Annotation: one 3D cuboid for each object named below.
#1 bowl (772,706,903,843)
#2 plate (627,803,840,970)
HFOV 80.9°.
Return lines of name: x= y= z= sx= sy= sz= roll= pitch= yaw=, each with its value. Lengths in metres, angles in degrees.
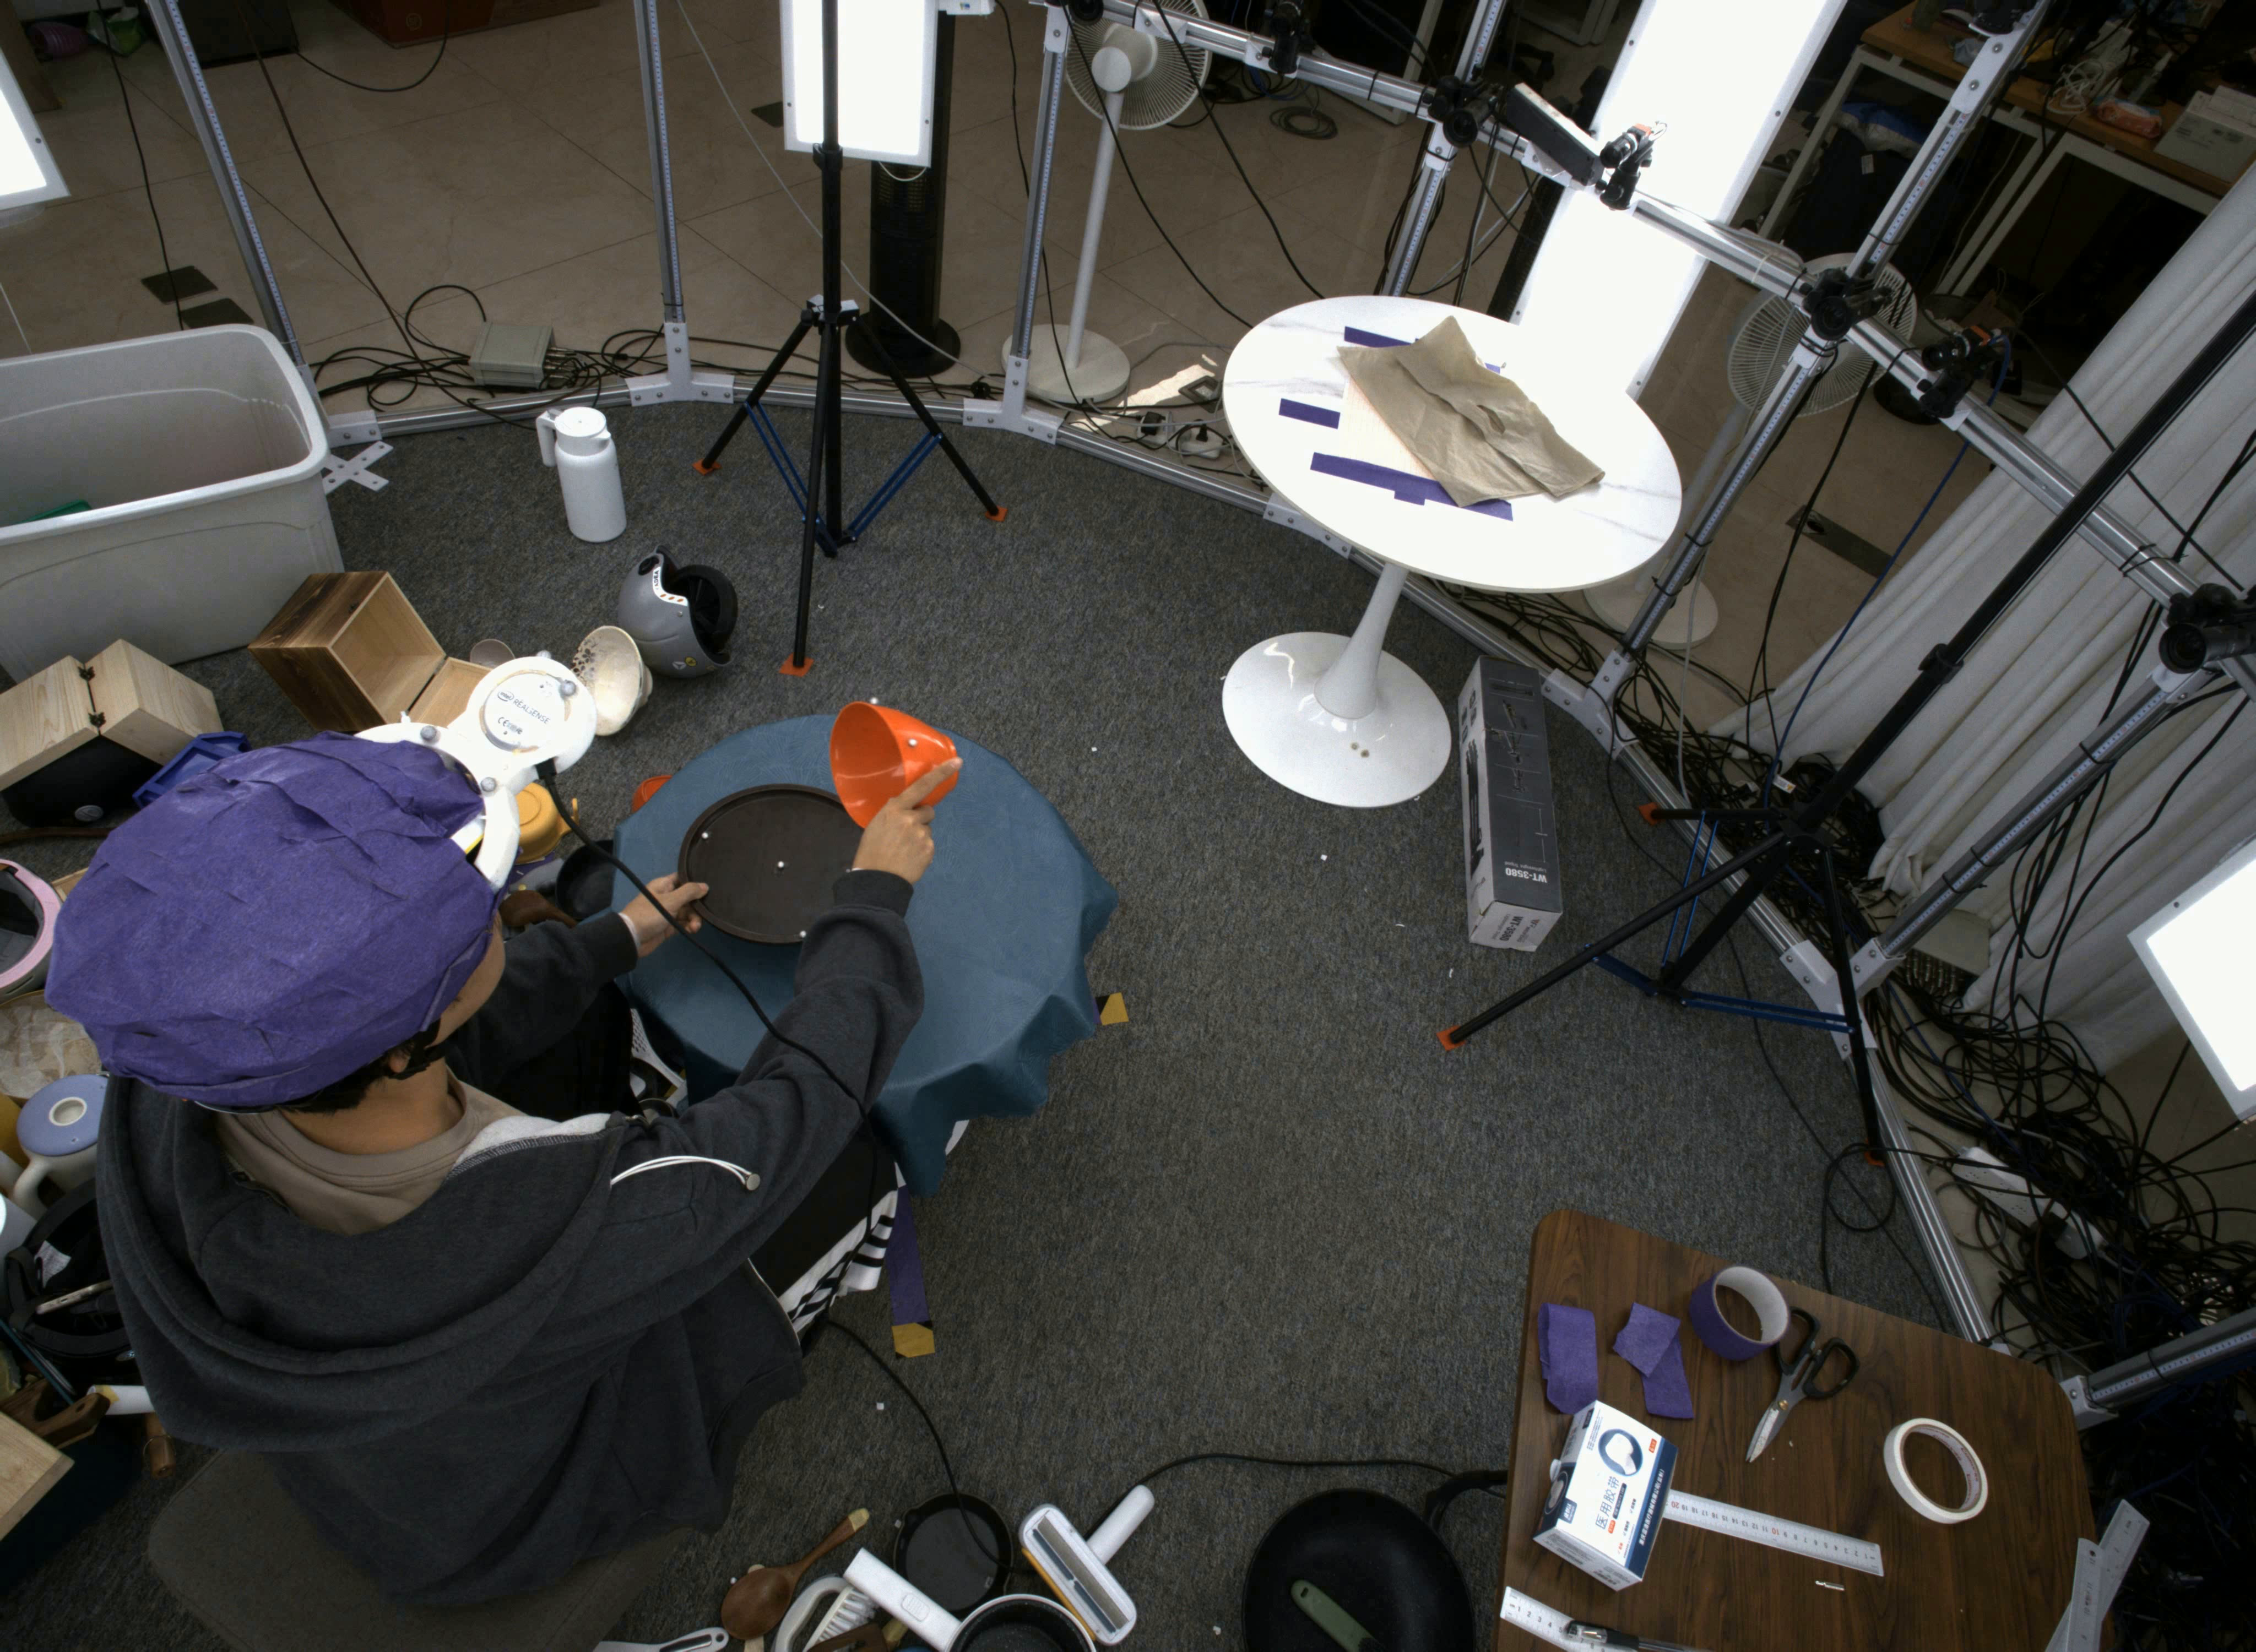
bowl: x=-0.314 y=-0.062 z=1.429 sx=0.106 sy=0.150 sz=0.144 roll=-13 pitch=55 yaw=-36
plate: x=-0.480 y=0.069 z=1.574 sx=0.254 sy=0.029 sz=0.250 roll=9 pitch=50 yaw=-9
